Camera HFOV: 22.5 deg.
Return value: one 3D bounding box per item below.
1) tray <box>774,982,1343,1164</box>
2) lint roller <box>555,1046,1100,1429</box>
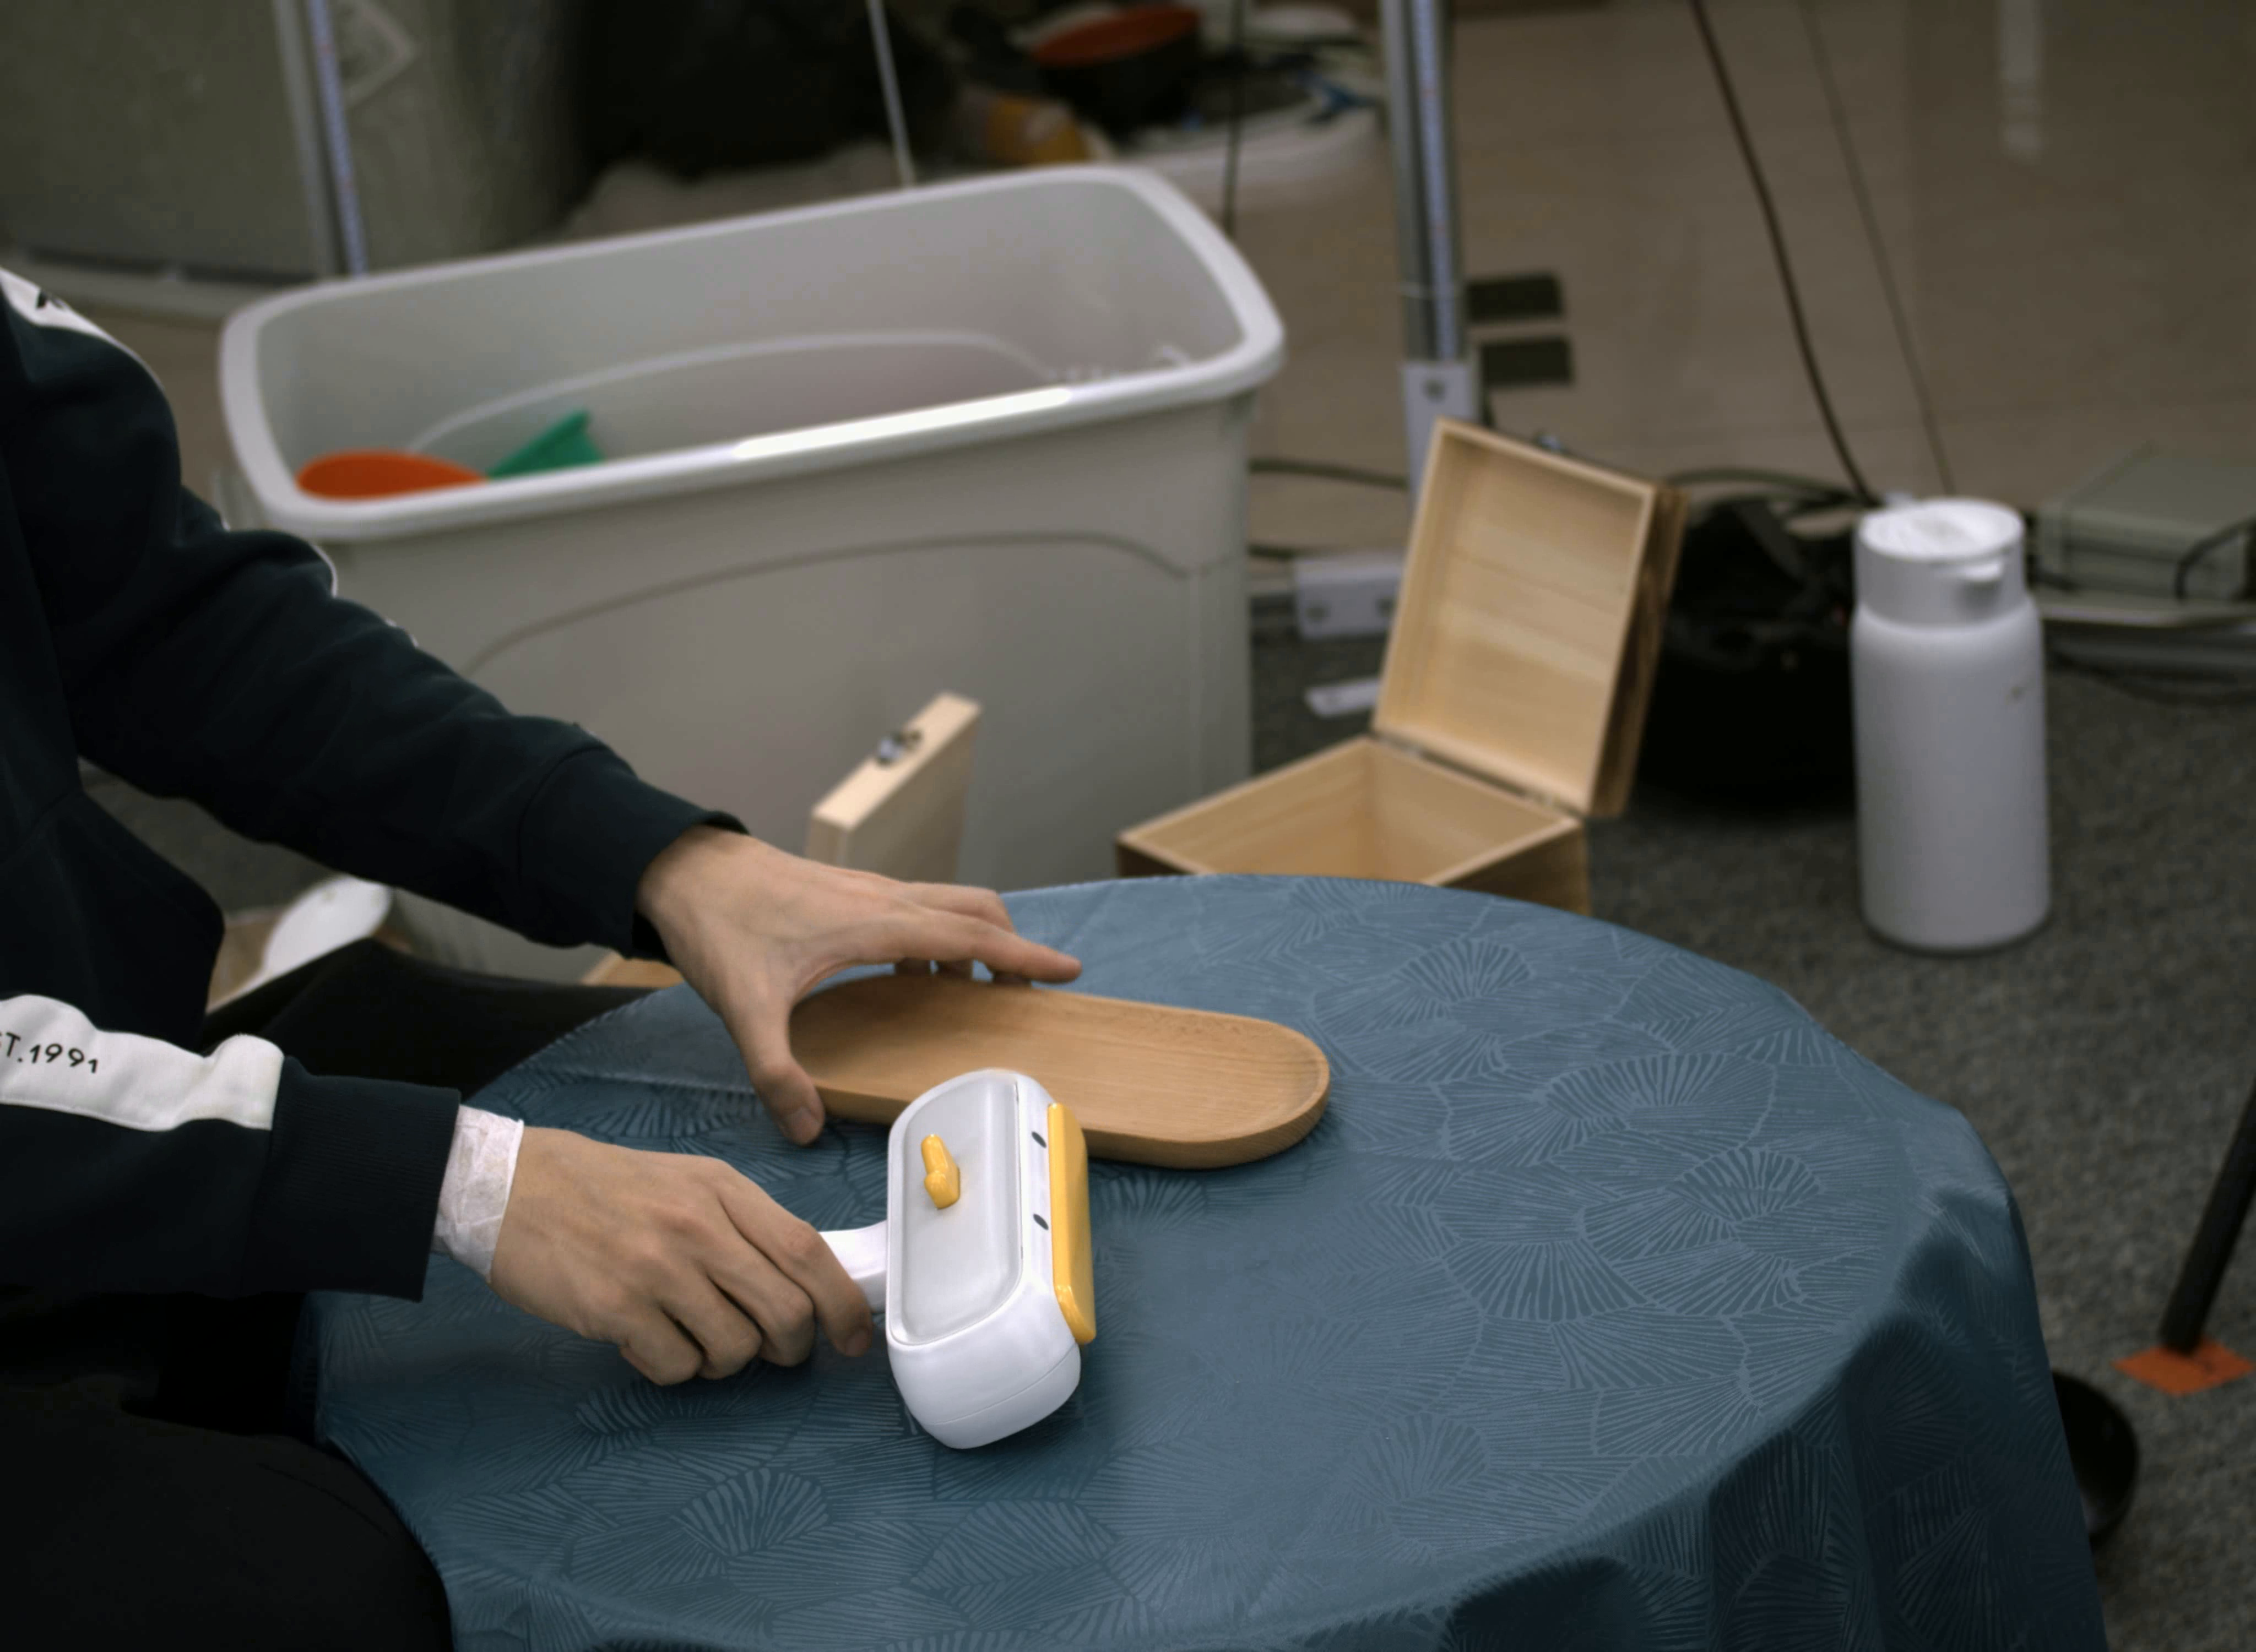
[{"bbox_3d":[-0.028,0.096,2.213,0.230,0.020,0.100,7,29,19],"label":"tray"},{"bbox_3d":[-0.110,0.160,2.054,0.192,0.075,0.189,-18,32,4],"label":"lint roller"}]
